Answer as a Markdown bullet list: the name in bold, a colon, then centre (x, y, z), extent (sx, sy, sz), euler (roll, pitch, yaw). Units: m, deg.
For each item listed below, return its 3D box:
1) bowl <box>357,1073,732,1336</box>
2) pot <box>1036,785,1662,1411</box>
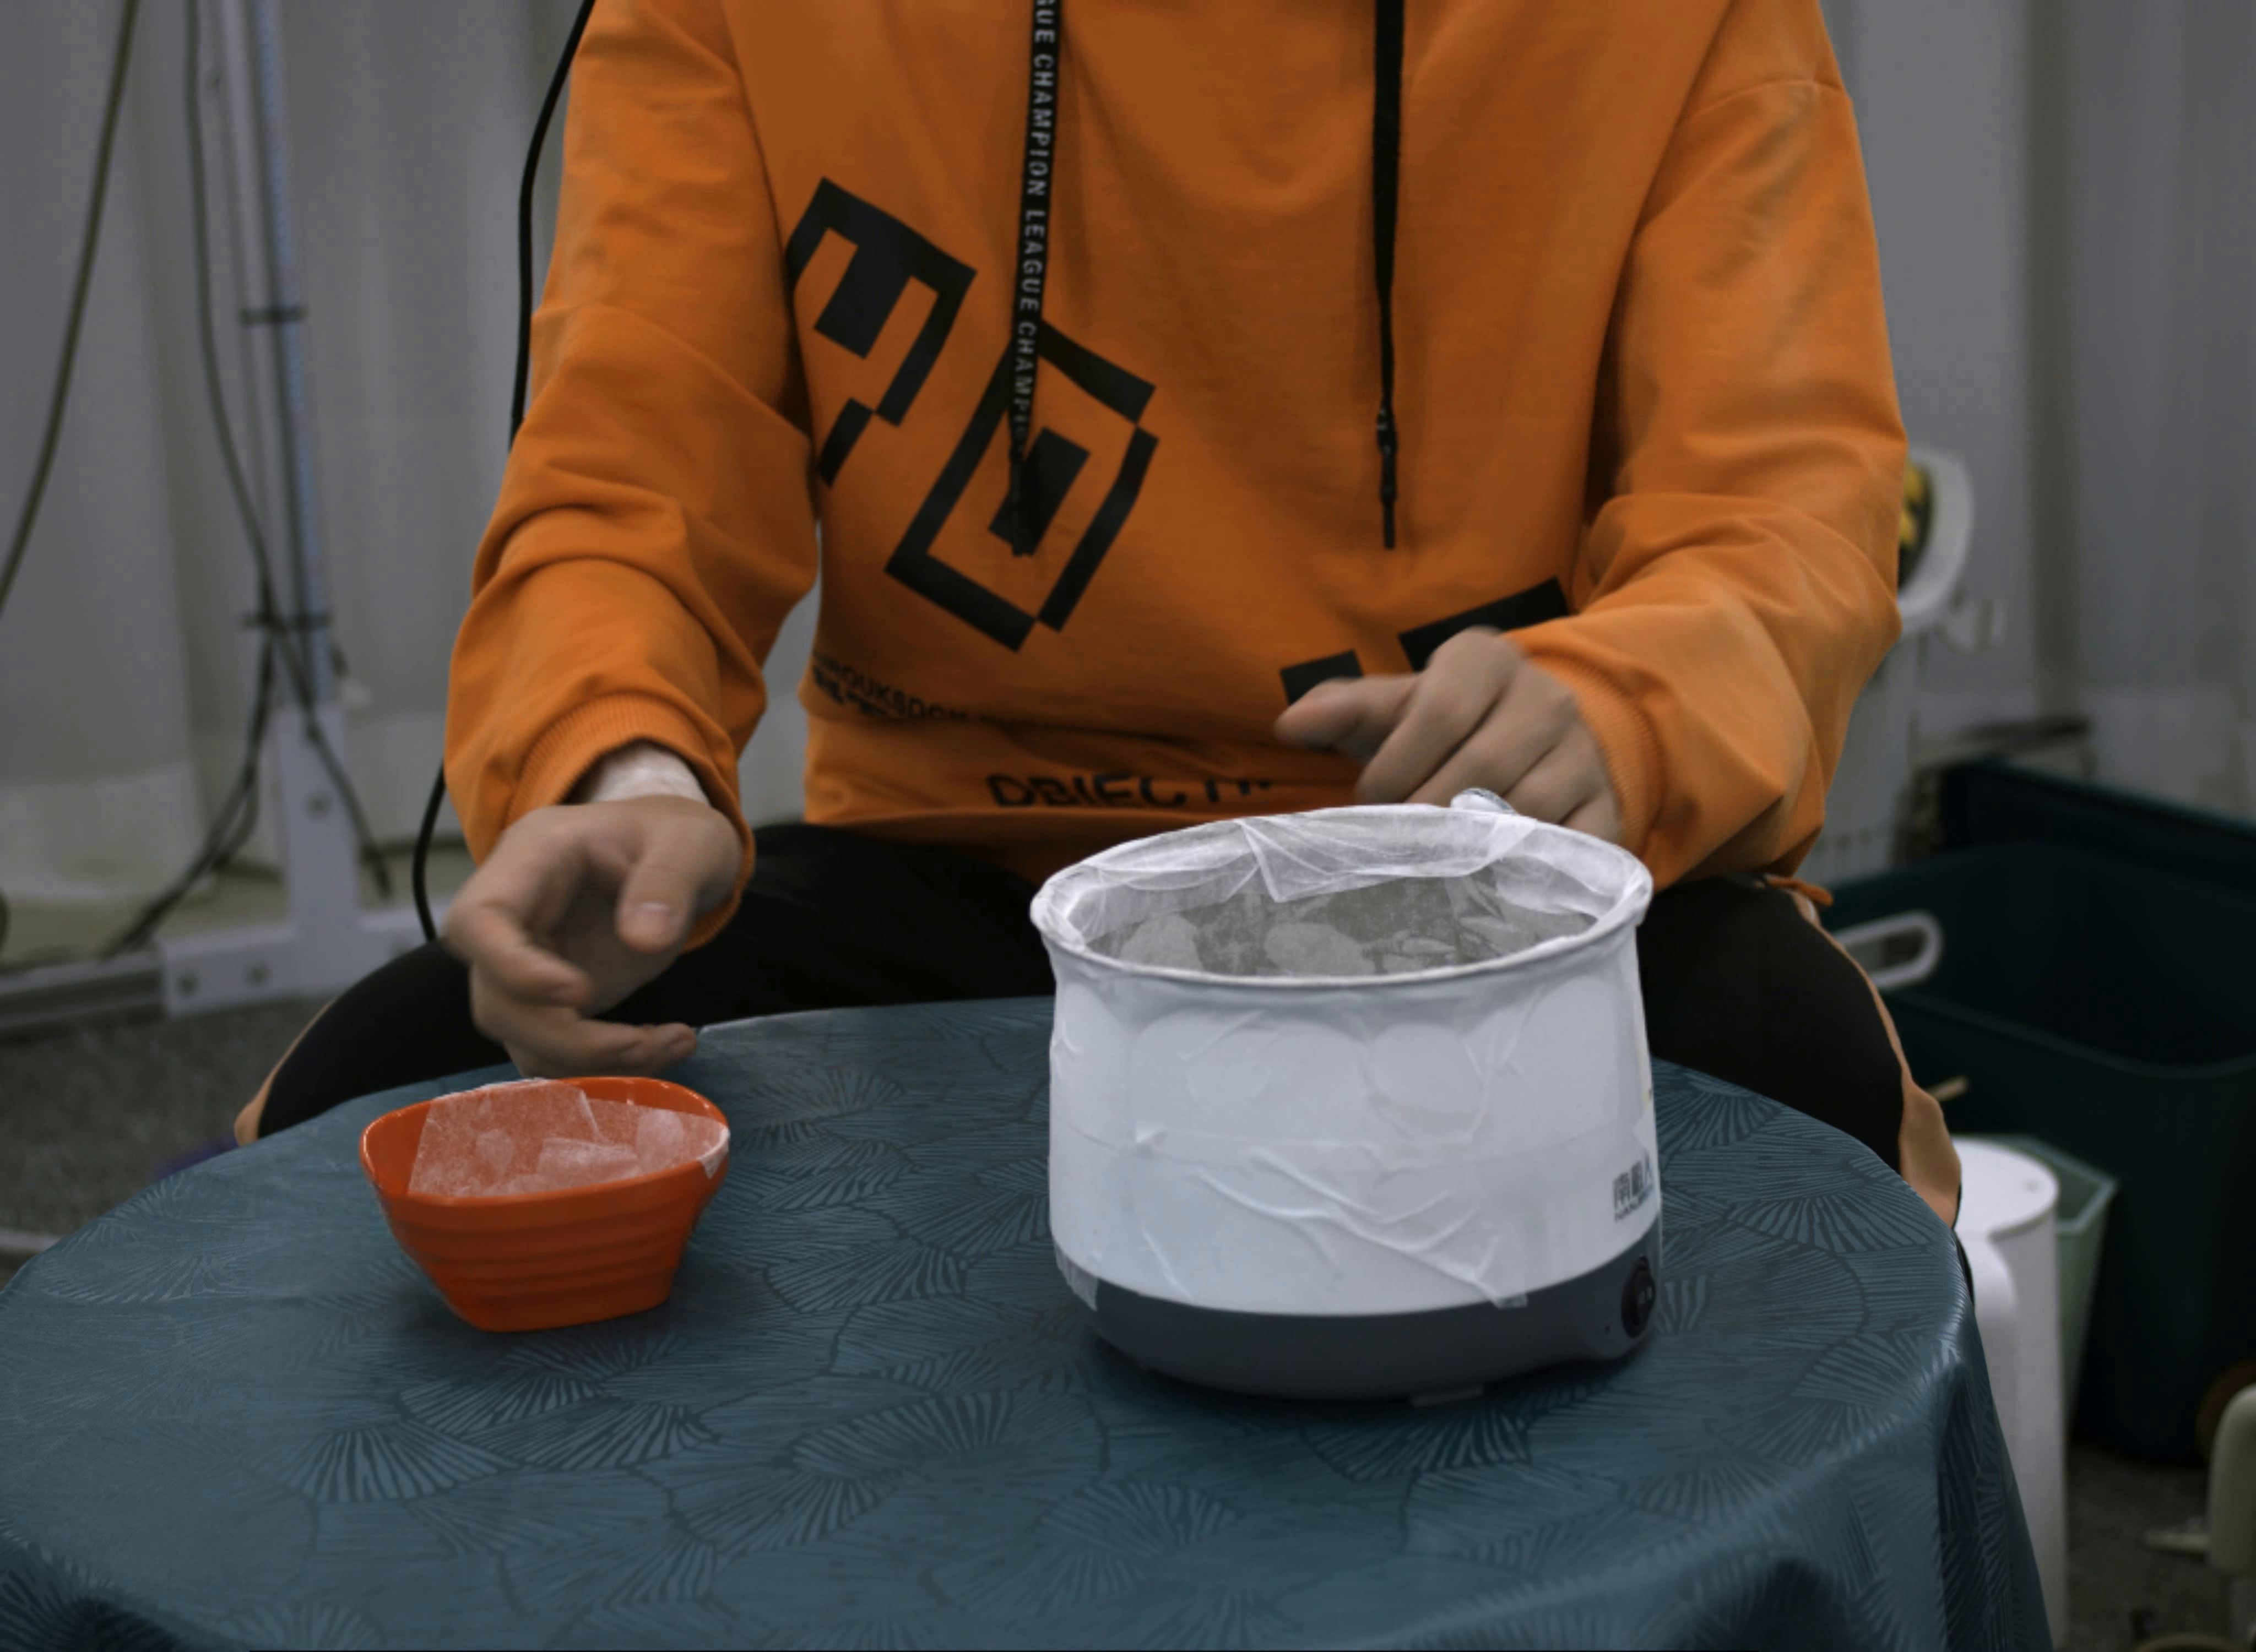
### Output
- **bowl**: centre (-0.174, 0.116, 1.647), extent (0.118, 0.051, 0.120), euler (-4, 16, 1)
- **pot**: centre (0.076, 0.072, 1.595), extent (0.179, 0.136, 0.234), euler (4, 17, 25)
